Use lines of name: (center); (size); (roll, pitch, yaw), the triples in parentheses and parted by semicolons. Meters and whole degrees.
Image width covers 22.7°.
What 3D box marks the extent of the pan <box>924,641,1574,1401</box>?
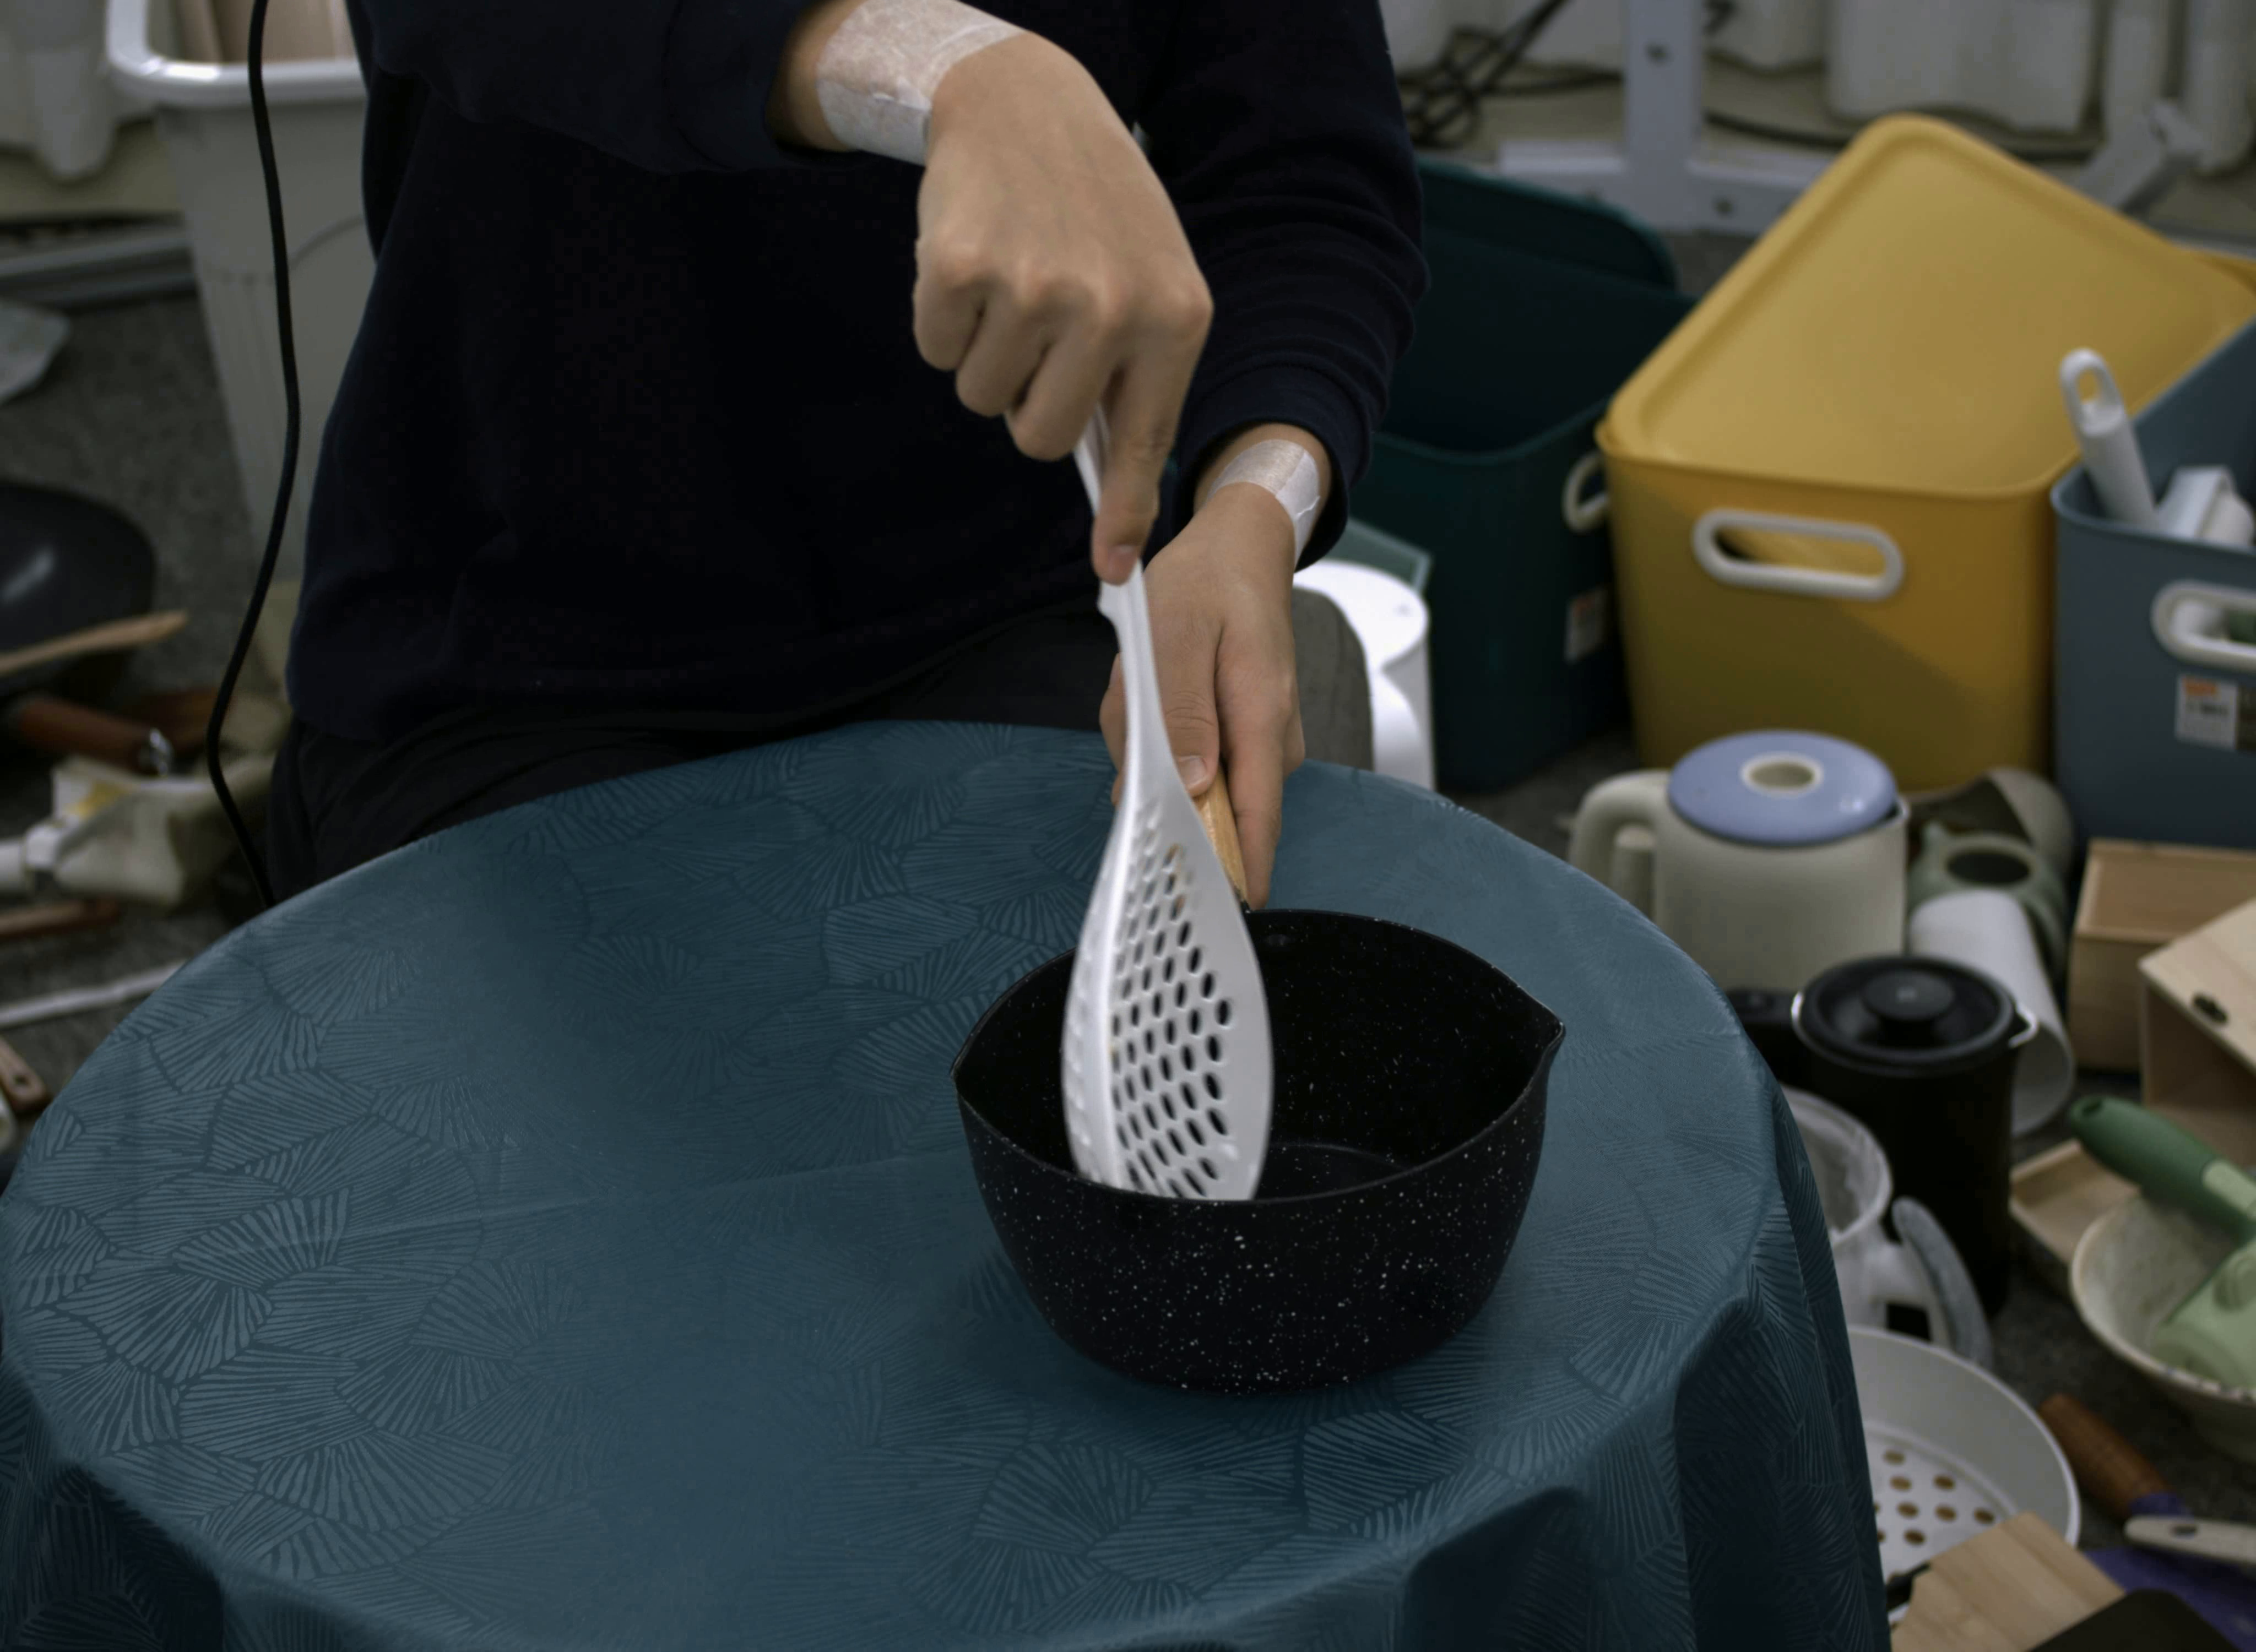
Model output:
pan: (0.032, 0.061, 1.861); (0.207, 0.107, 0.347); (-7, 29, -4)

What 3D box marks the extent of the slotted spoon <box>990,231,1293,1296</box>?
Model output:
slotted spoon: (-0.001, -0.017, 1.730); (0.050, 0.345, 0.139); (4, 24, 21)
